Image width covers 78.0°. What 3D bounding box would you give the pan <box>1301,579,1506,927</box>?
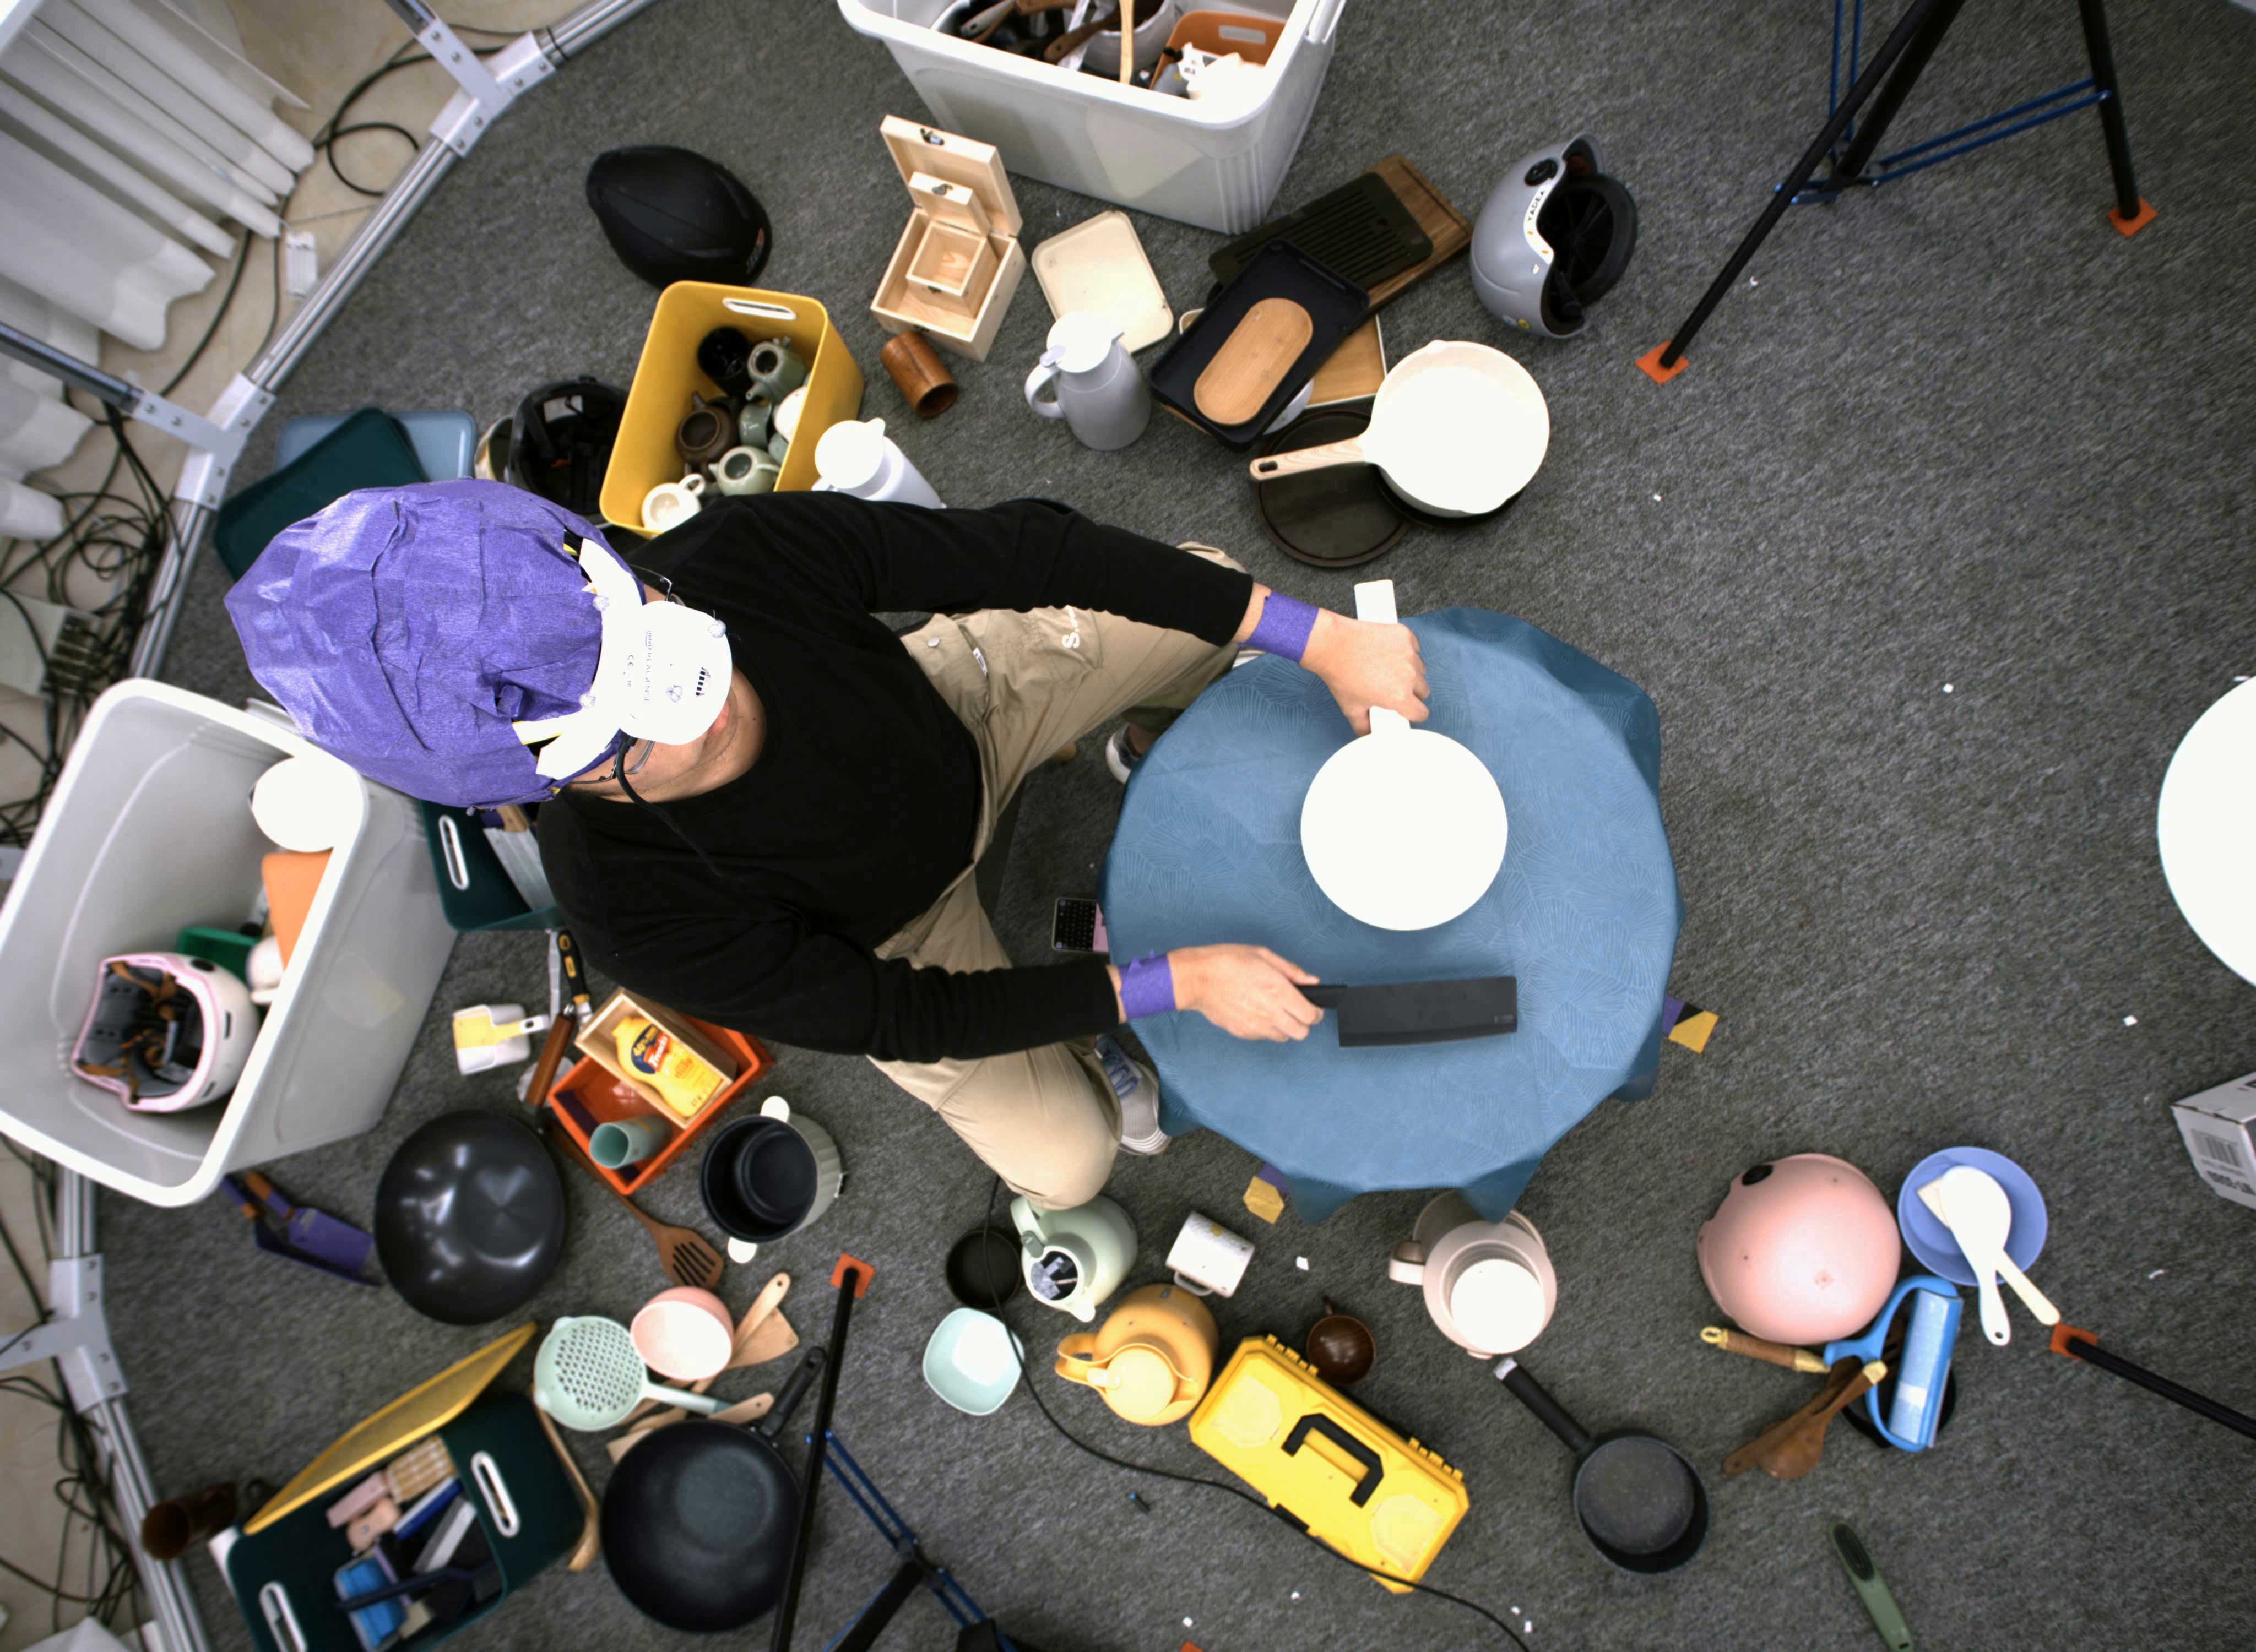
[{"bbox_3d":[0.275,-0.072,1.419,0.202,0.102,0.353,-6,85,11],"label":"pan"}]

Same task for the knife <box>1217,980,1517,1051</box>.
[{"bbox_3d":[0.242,0.188,1.398,0.303,0.020,0.082,1,105,5],"label":"knife"}]
